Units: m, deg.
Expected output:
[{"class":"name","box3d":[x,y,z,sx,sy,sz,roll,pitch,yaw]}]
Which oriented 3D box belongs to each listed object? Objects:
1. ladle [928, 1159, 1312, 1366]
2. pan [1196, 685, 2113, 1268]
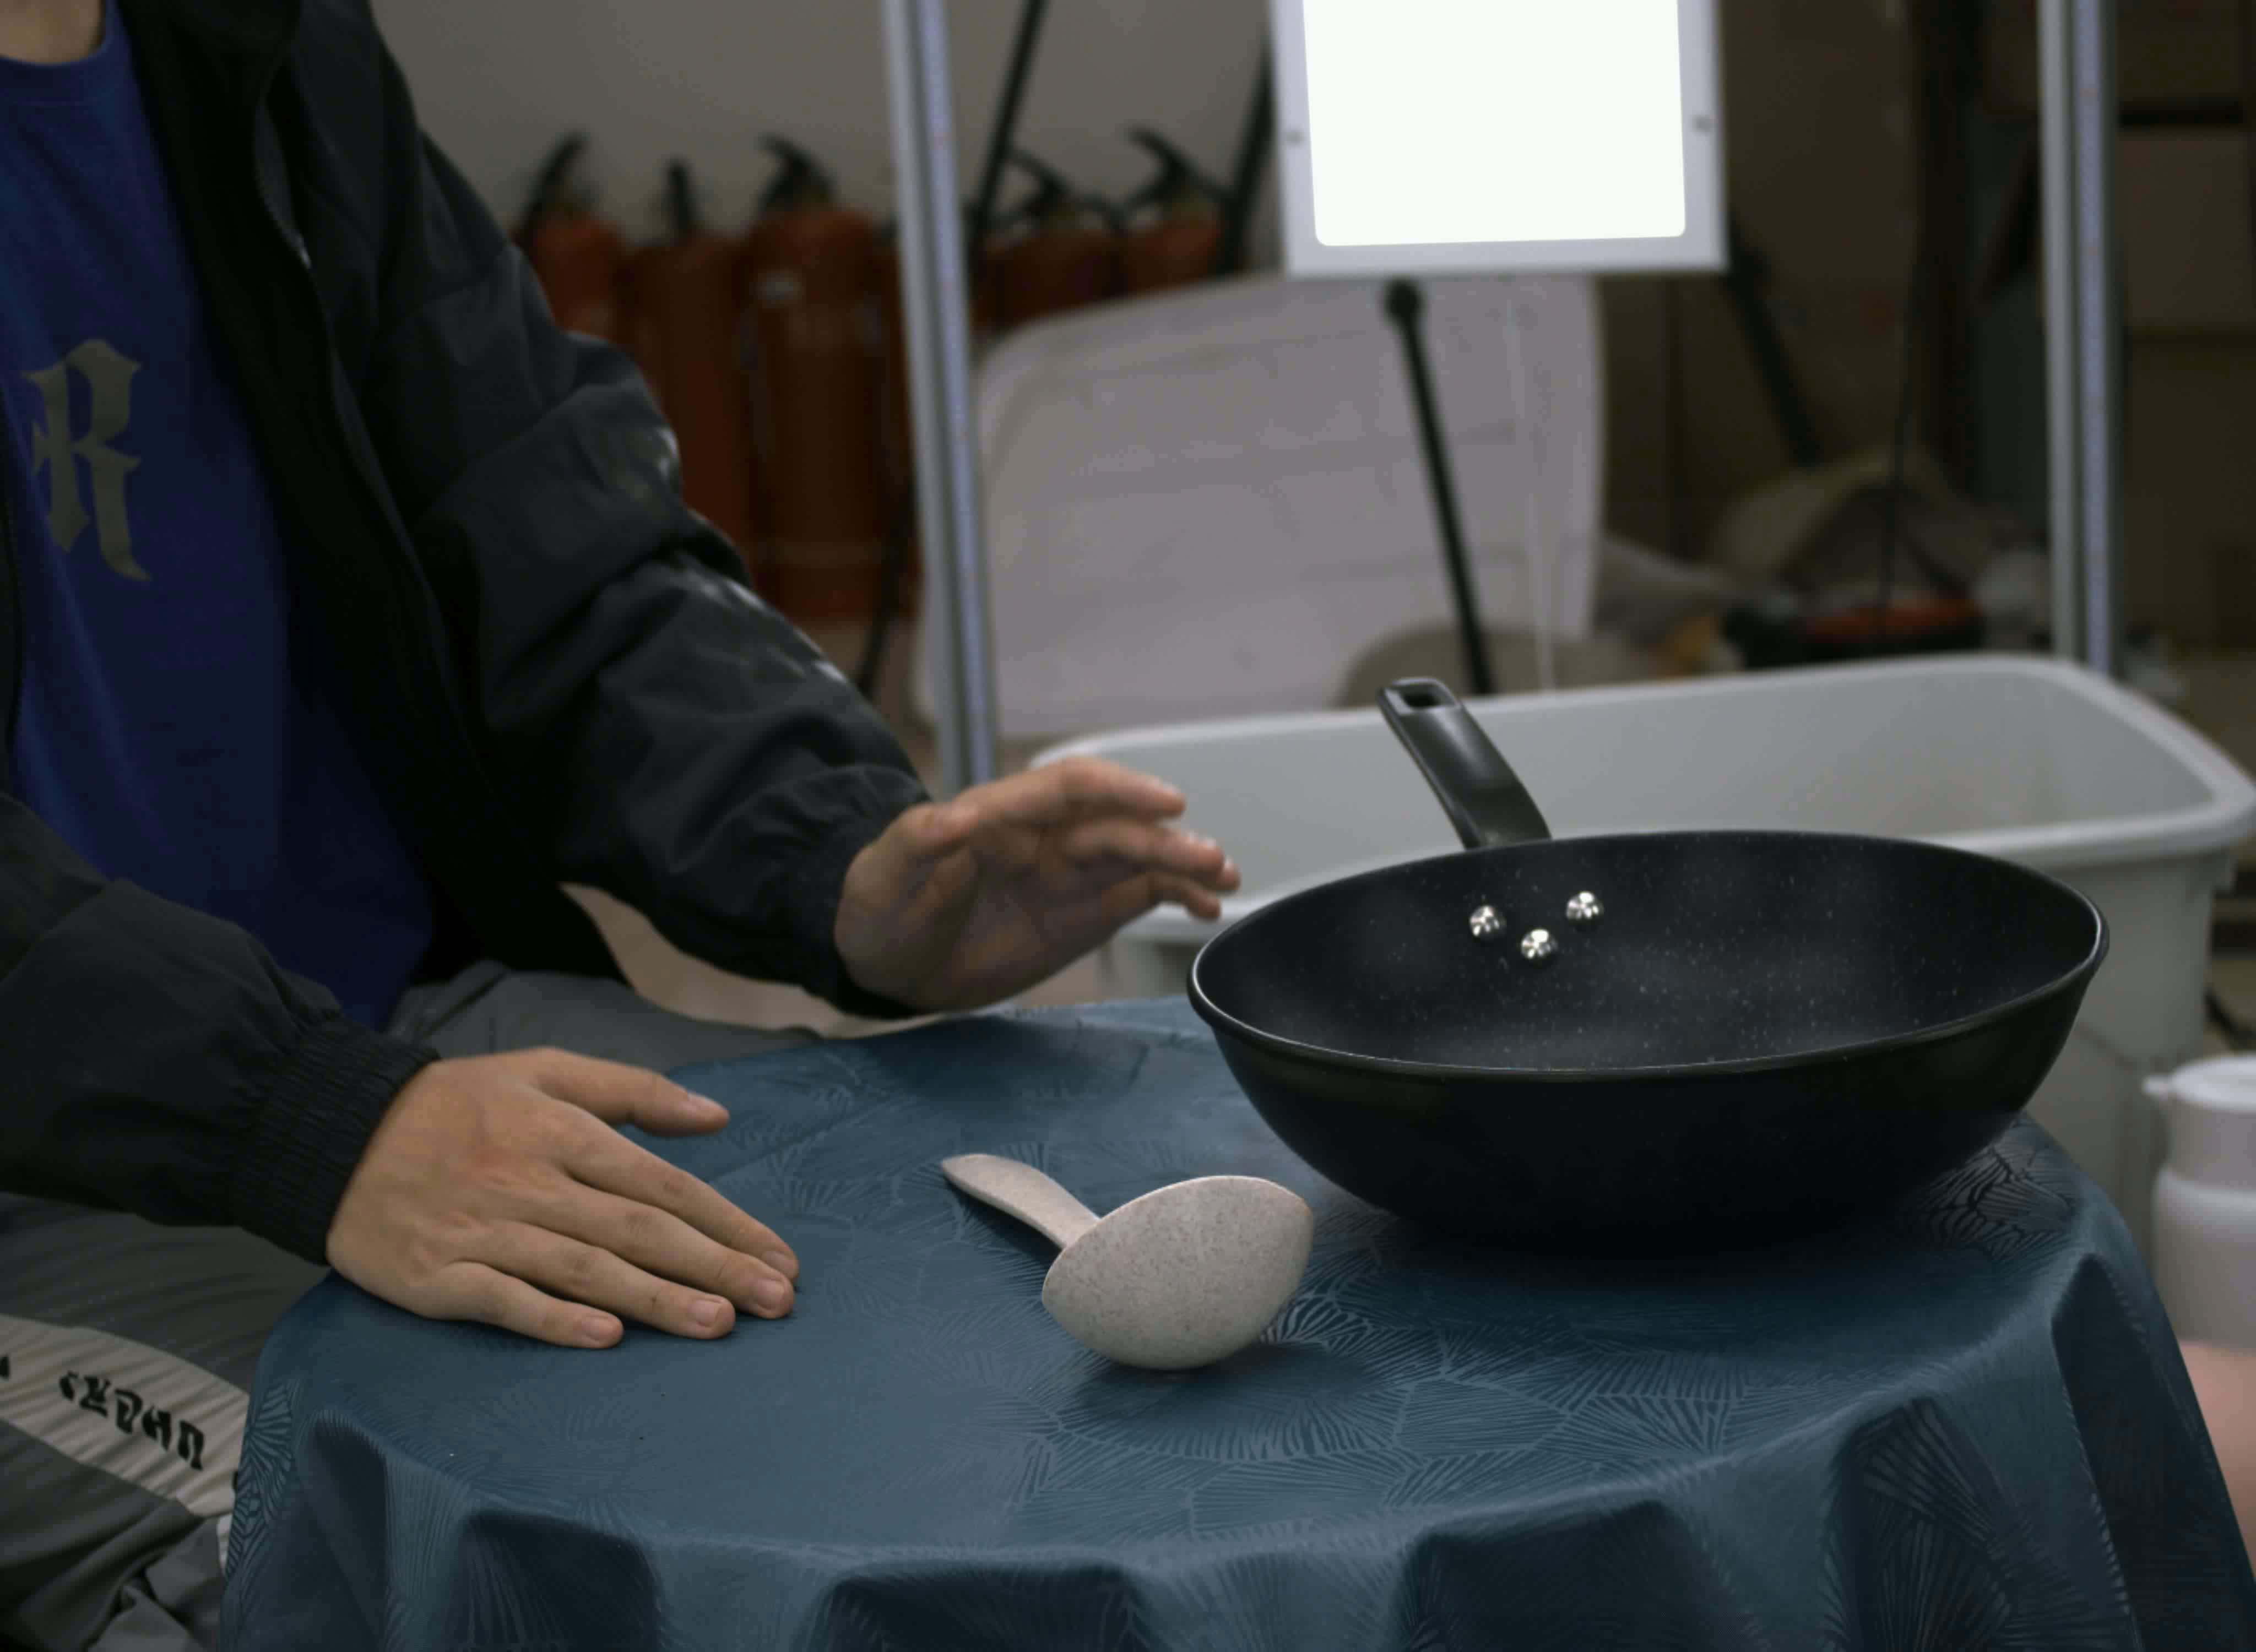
[{"class":"ladle","box3d":[-0.021,0.115,1.808,0.088,0.069,0.278,-17,16,-17]},{"class":"pan","box3d":[0.162,0.052,1.917,0.307,0.112,0.480,-6,14,-10]}]
